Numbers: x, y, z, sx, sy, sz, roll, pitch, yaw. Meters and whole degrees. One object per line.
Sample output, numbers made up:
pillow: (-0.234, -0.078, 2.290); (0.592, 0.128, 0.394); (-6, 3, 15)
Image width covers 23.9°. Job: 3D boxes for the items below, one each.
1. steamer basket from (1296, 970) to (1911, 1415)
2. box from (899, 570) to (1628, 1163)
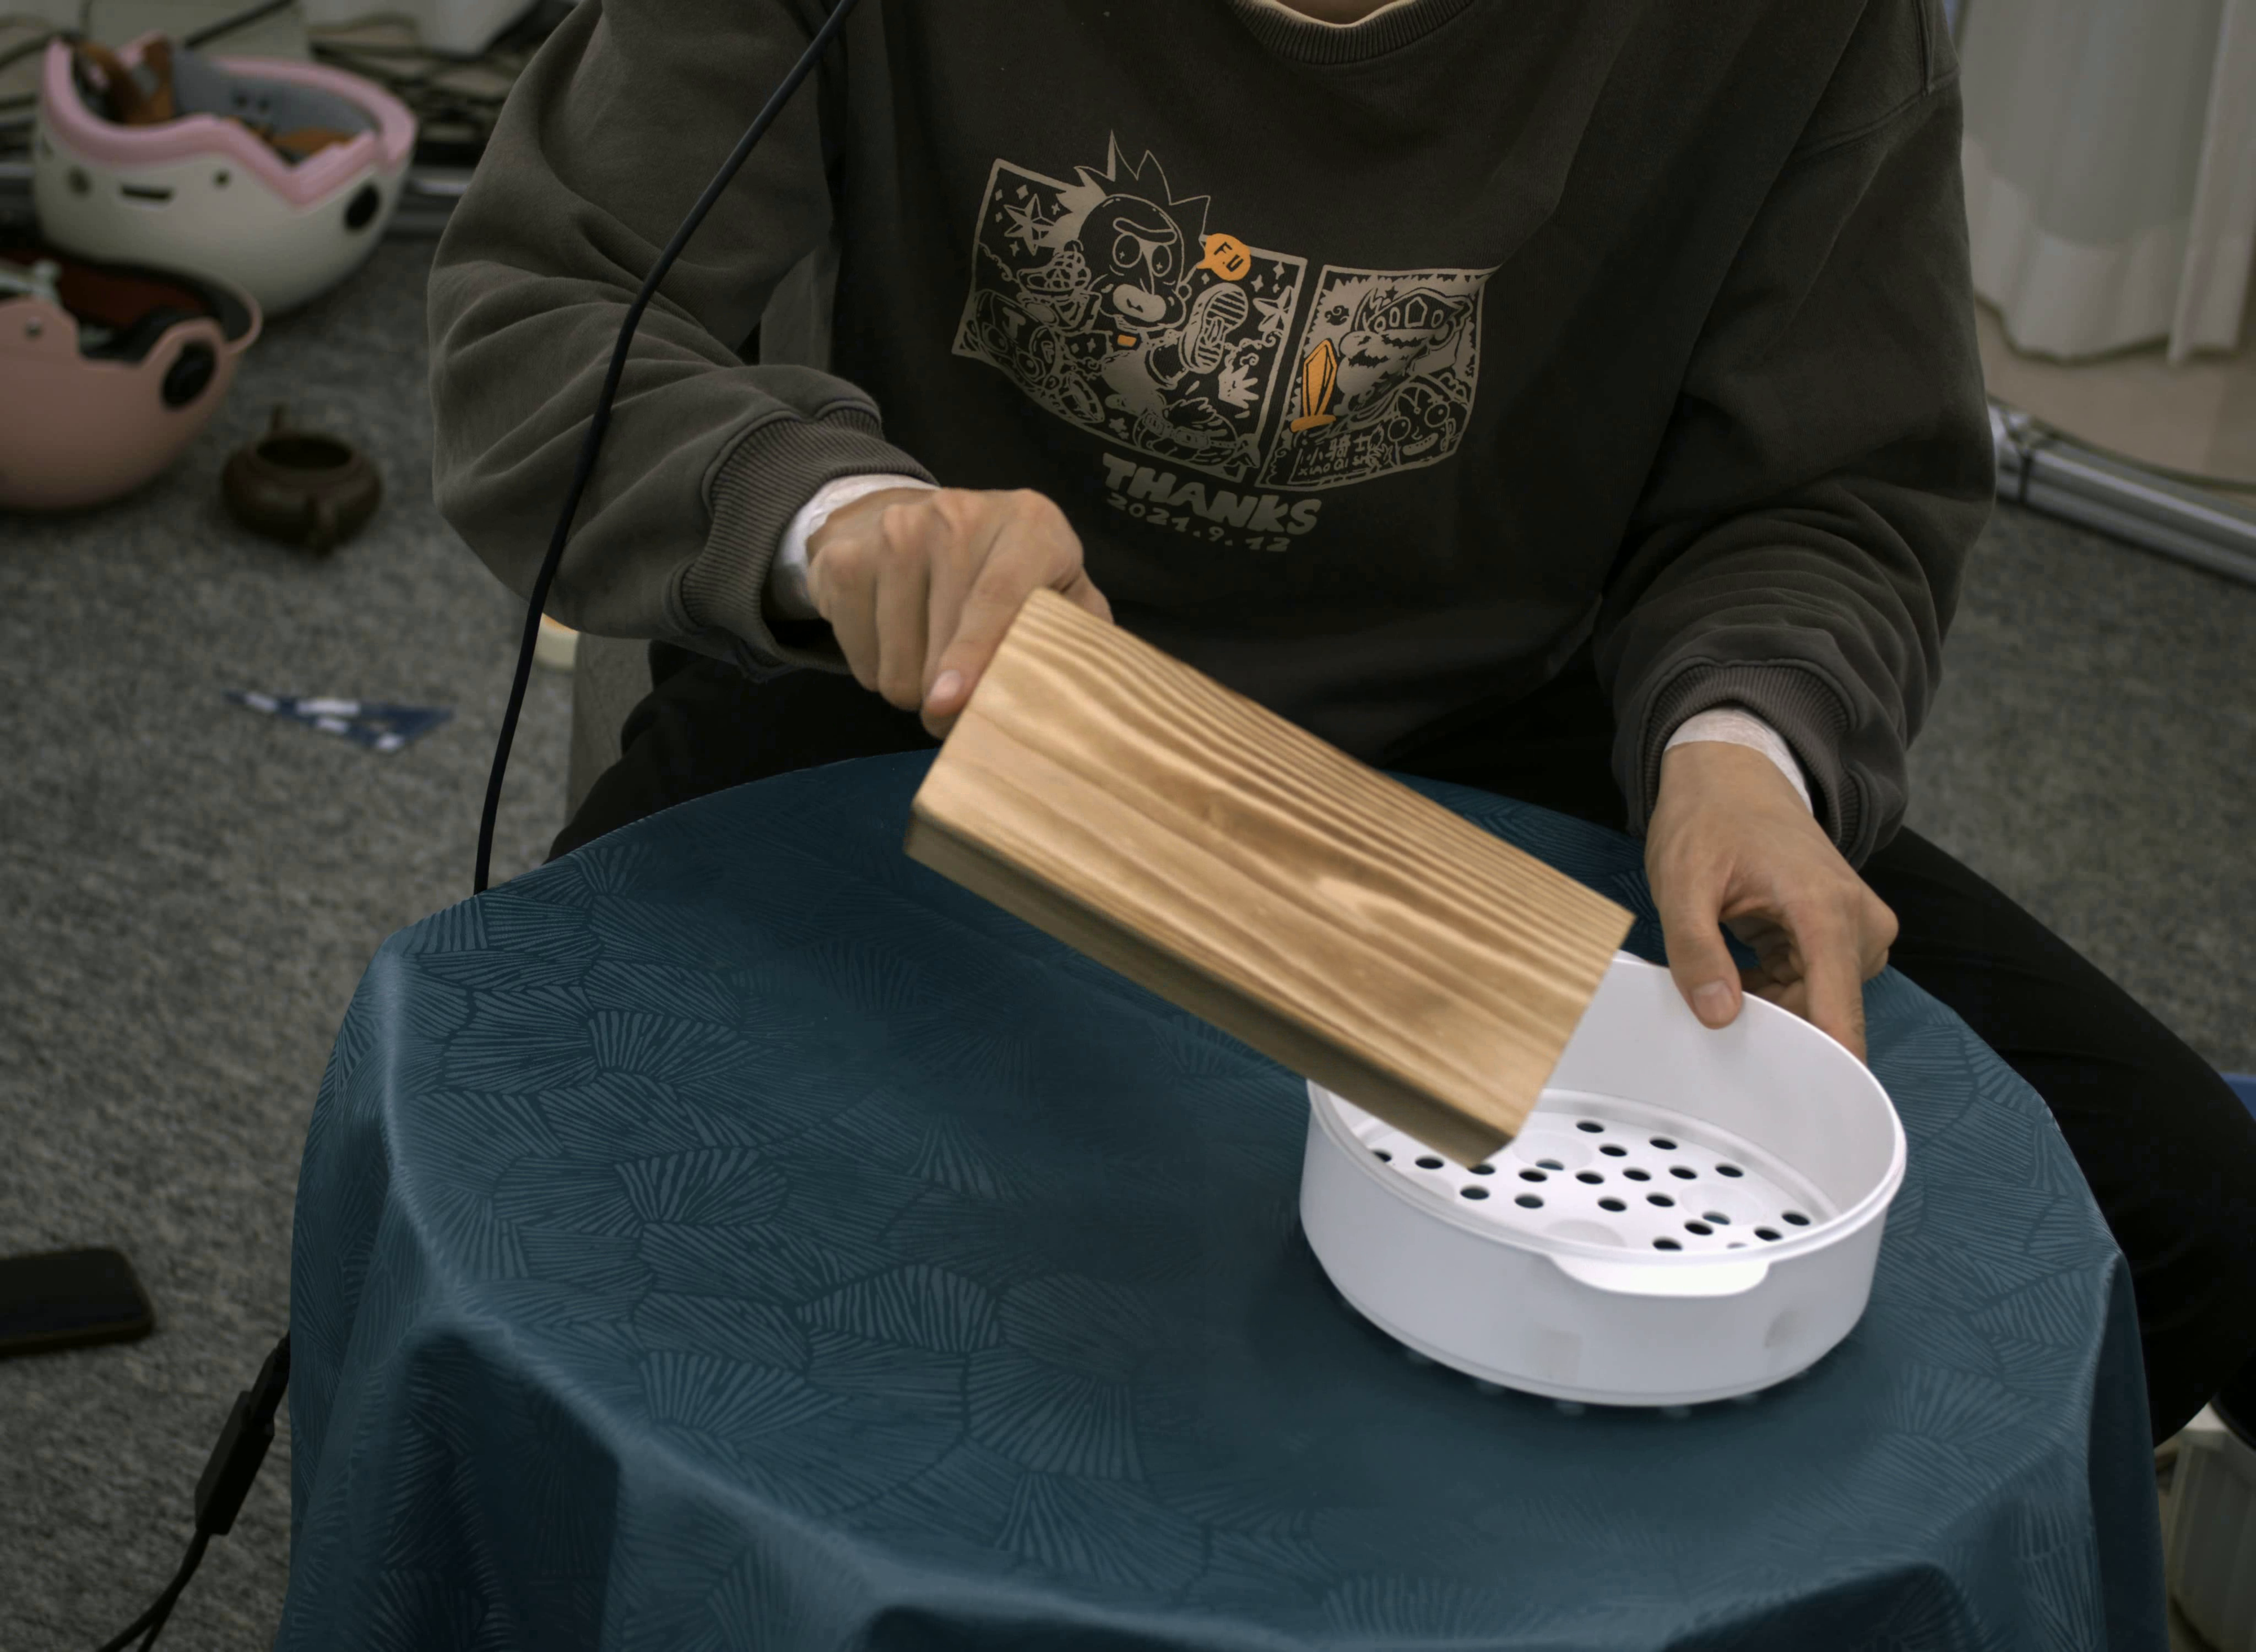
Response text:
steamer basket: (0.156, 0.122, 1.771); (0.201, 0.069, 0.232); (3, 25, -7)
box: (0.039, 0.015, 1.665); (0.211, 0.080, 0.107); (29, -10, 2)
